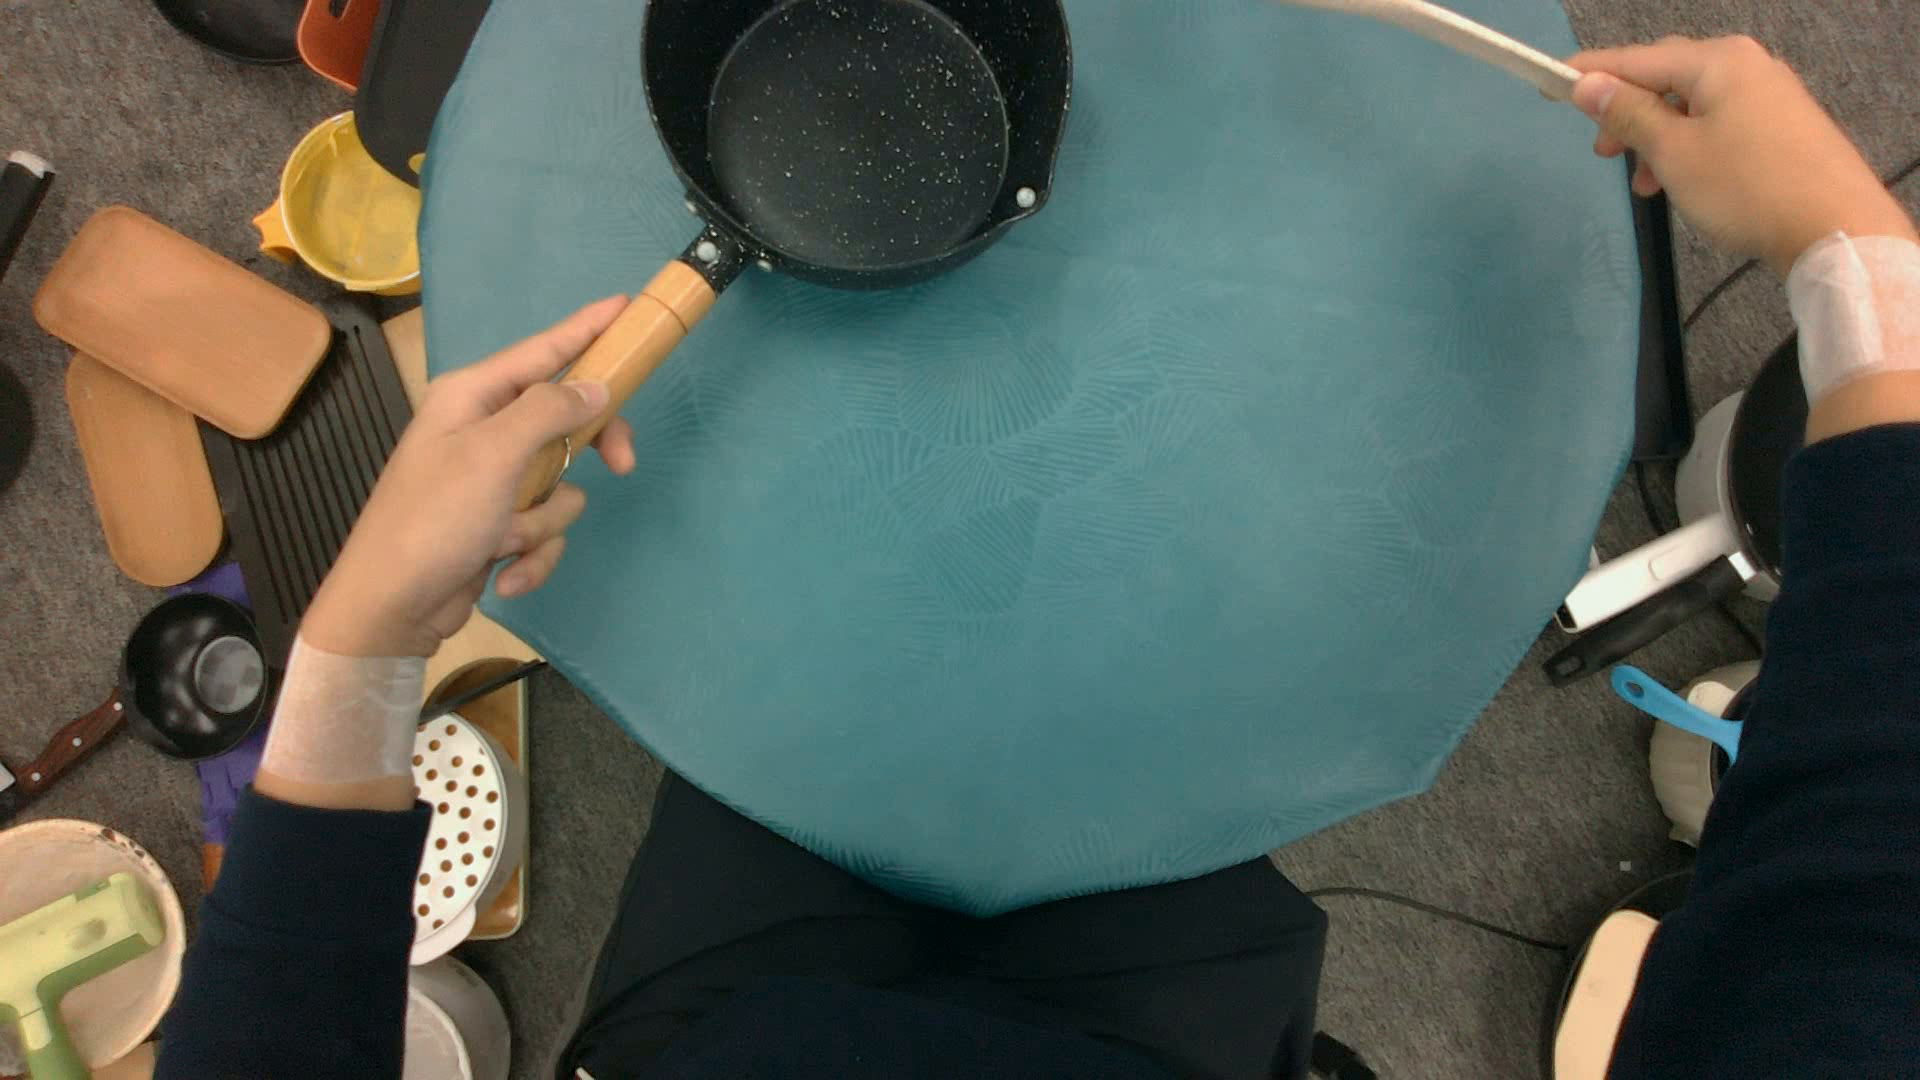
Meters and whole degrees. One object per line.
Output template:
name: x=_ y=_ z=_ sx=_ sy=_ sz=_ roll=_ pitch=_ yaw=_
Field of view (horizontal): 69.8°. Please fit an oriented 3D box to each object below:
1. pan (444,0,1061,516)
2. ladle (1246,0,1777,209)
pan: x=-0.097 y=-0.143 z=0.611 sx=0.207 sy=0.108 sz=0.343 roll=36 pitch=81 yaw=-2
ladle: x=0.233 y=-0.226 z=0.589 sx=0.275 sy=0.089 sz=0.069 roll=23 pitch=88 yaw=1
